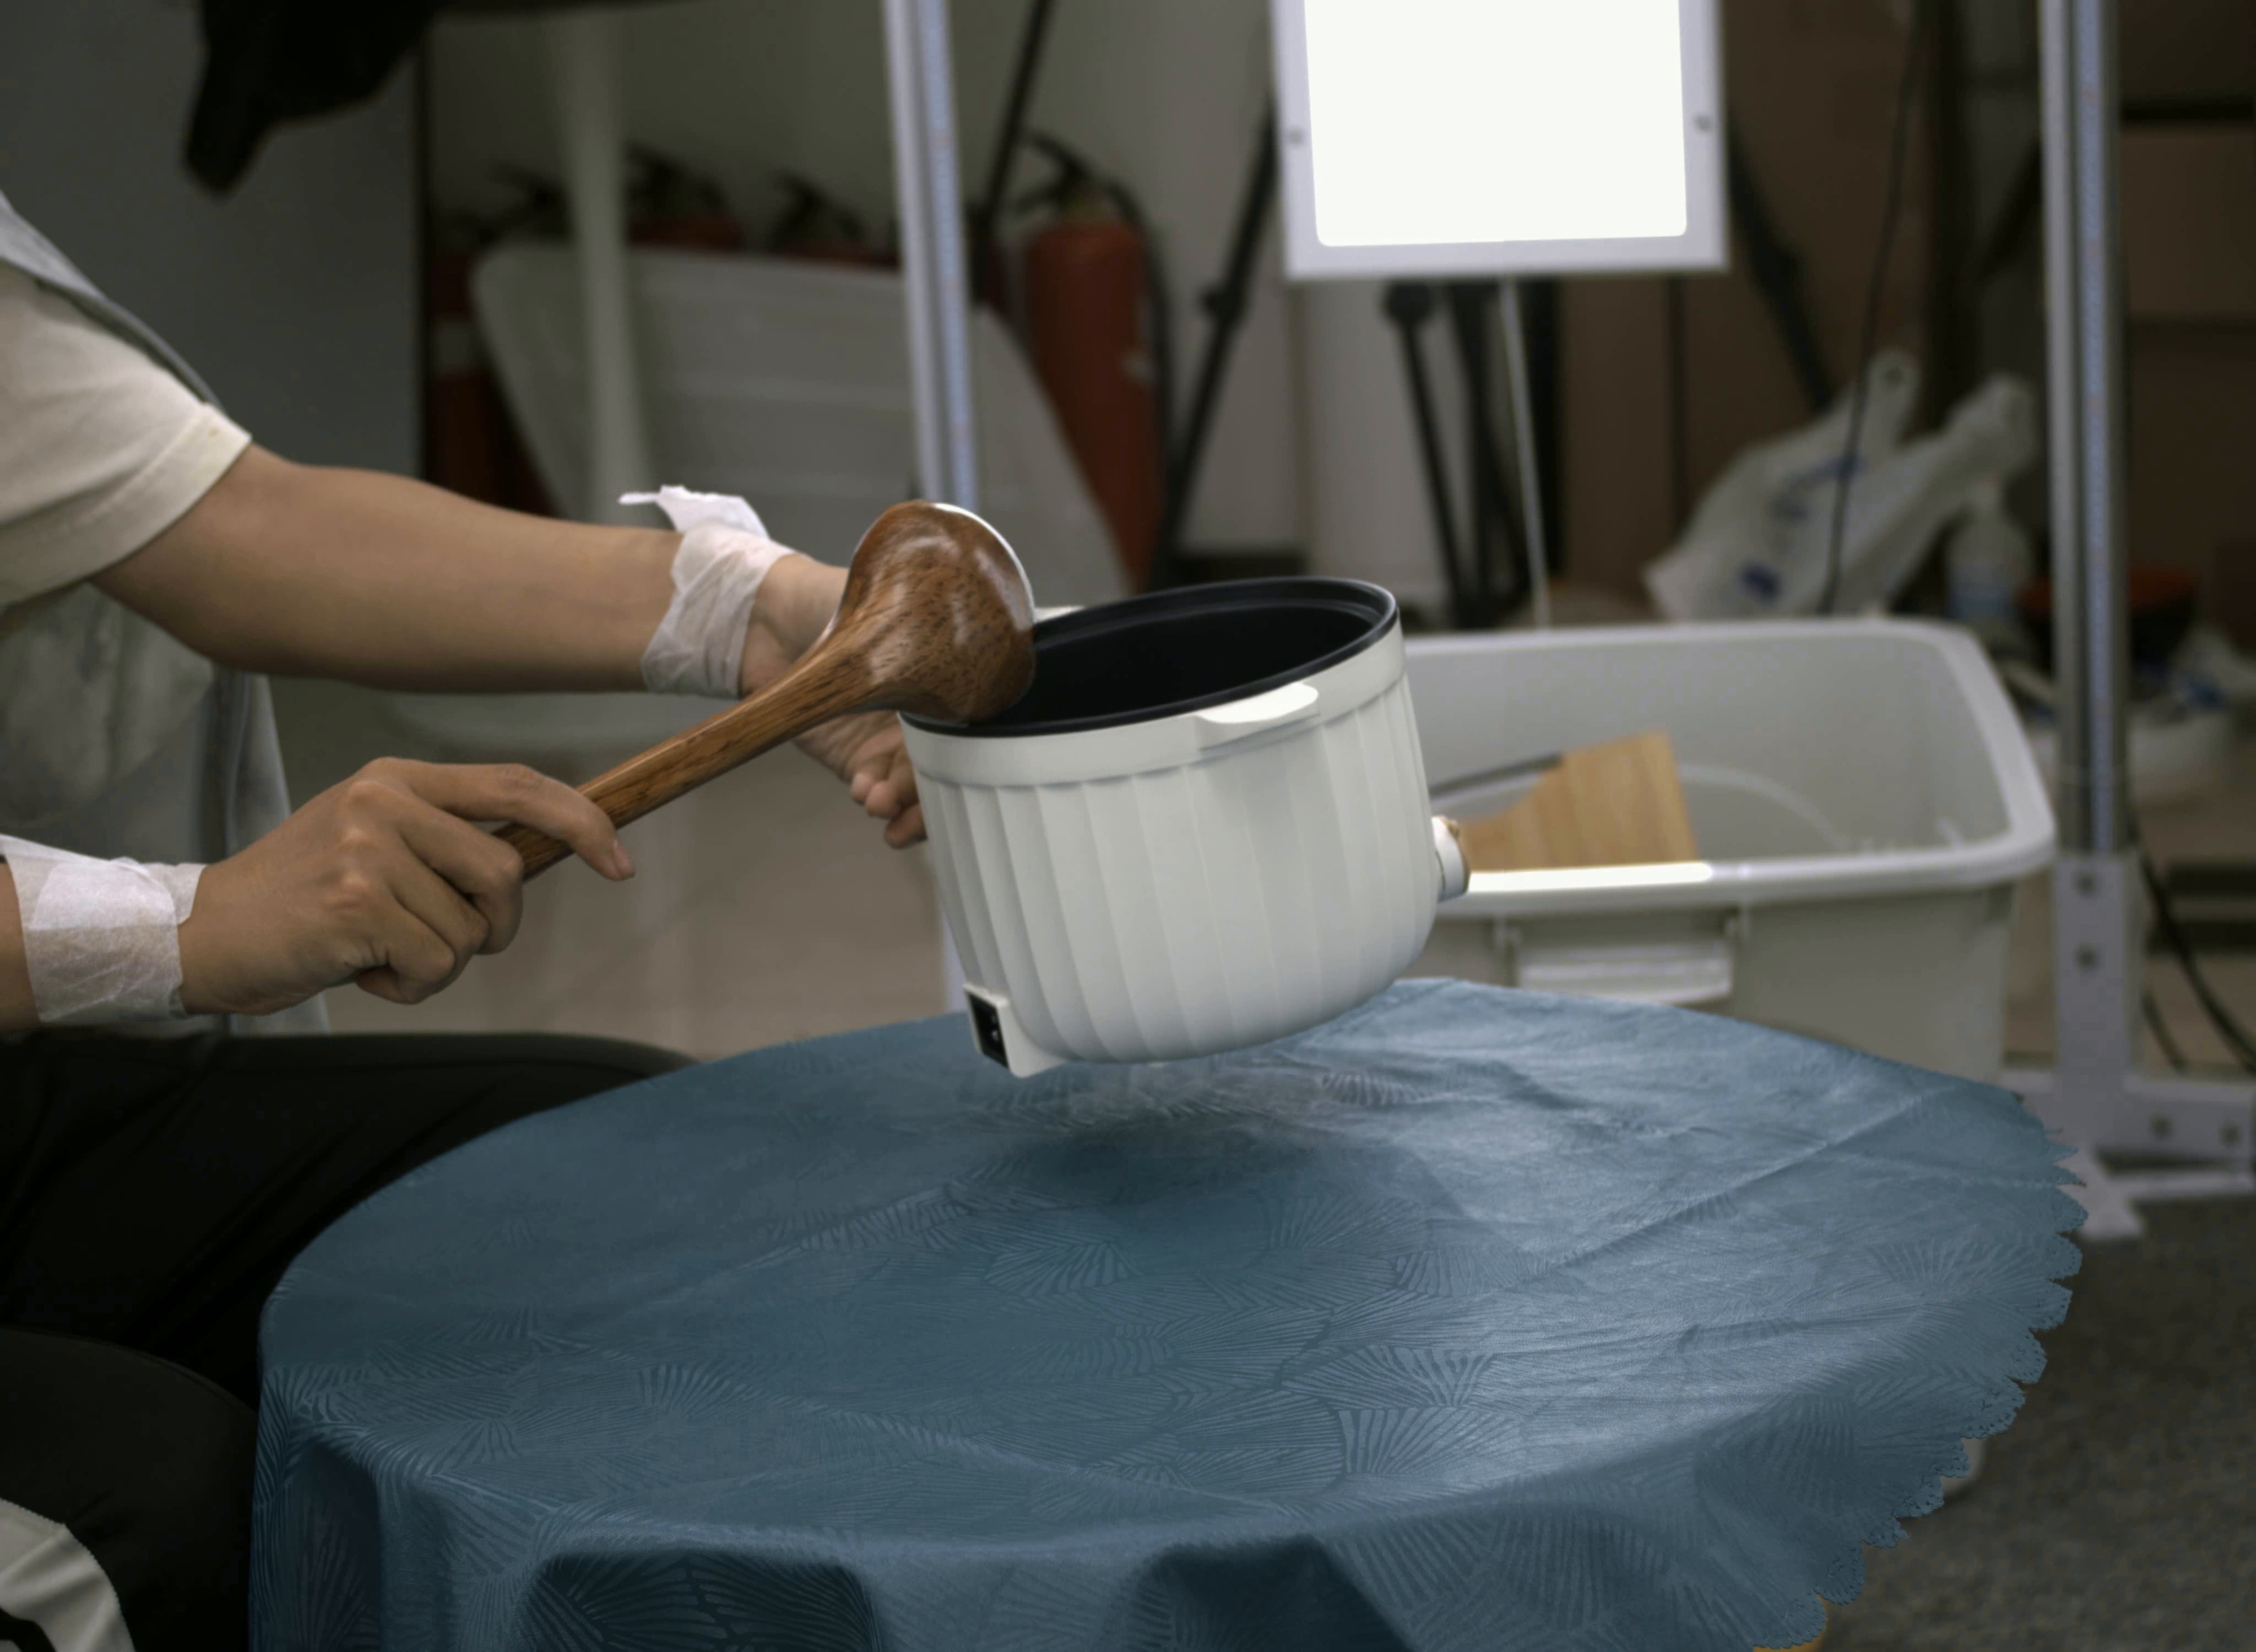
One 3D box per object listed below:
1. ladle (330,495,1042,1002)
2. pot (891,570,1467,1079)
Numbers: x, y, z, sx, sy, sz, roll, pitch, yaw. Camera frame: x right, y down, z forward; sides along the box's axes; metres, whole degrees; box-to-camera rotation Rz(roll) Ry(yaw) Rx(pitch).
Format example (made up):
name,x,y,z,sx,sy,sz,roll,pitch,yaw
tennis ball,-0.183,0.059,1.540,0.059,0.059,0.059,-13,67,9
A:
name,x,y,z,sx,sy,sz,roll,pitch,yaw
ladle,-0.152,-0.022,1.883,0.273,0.082,0.077,-31,0,-3
pot,0.023,-0.002,1.960,0.187,0.143,0.244,-20,17,-17
